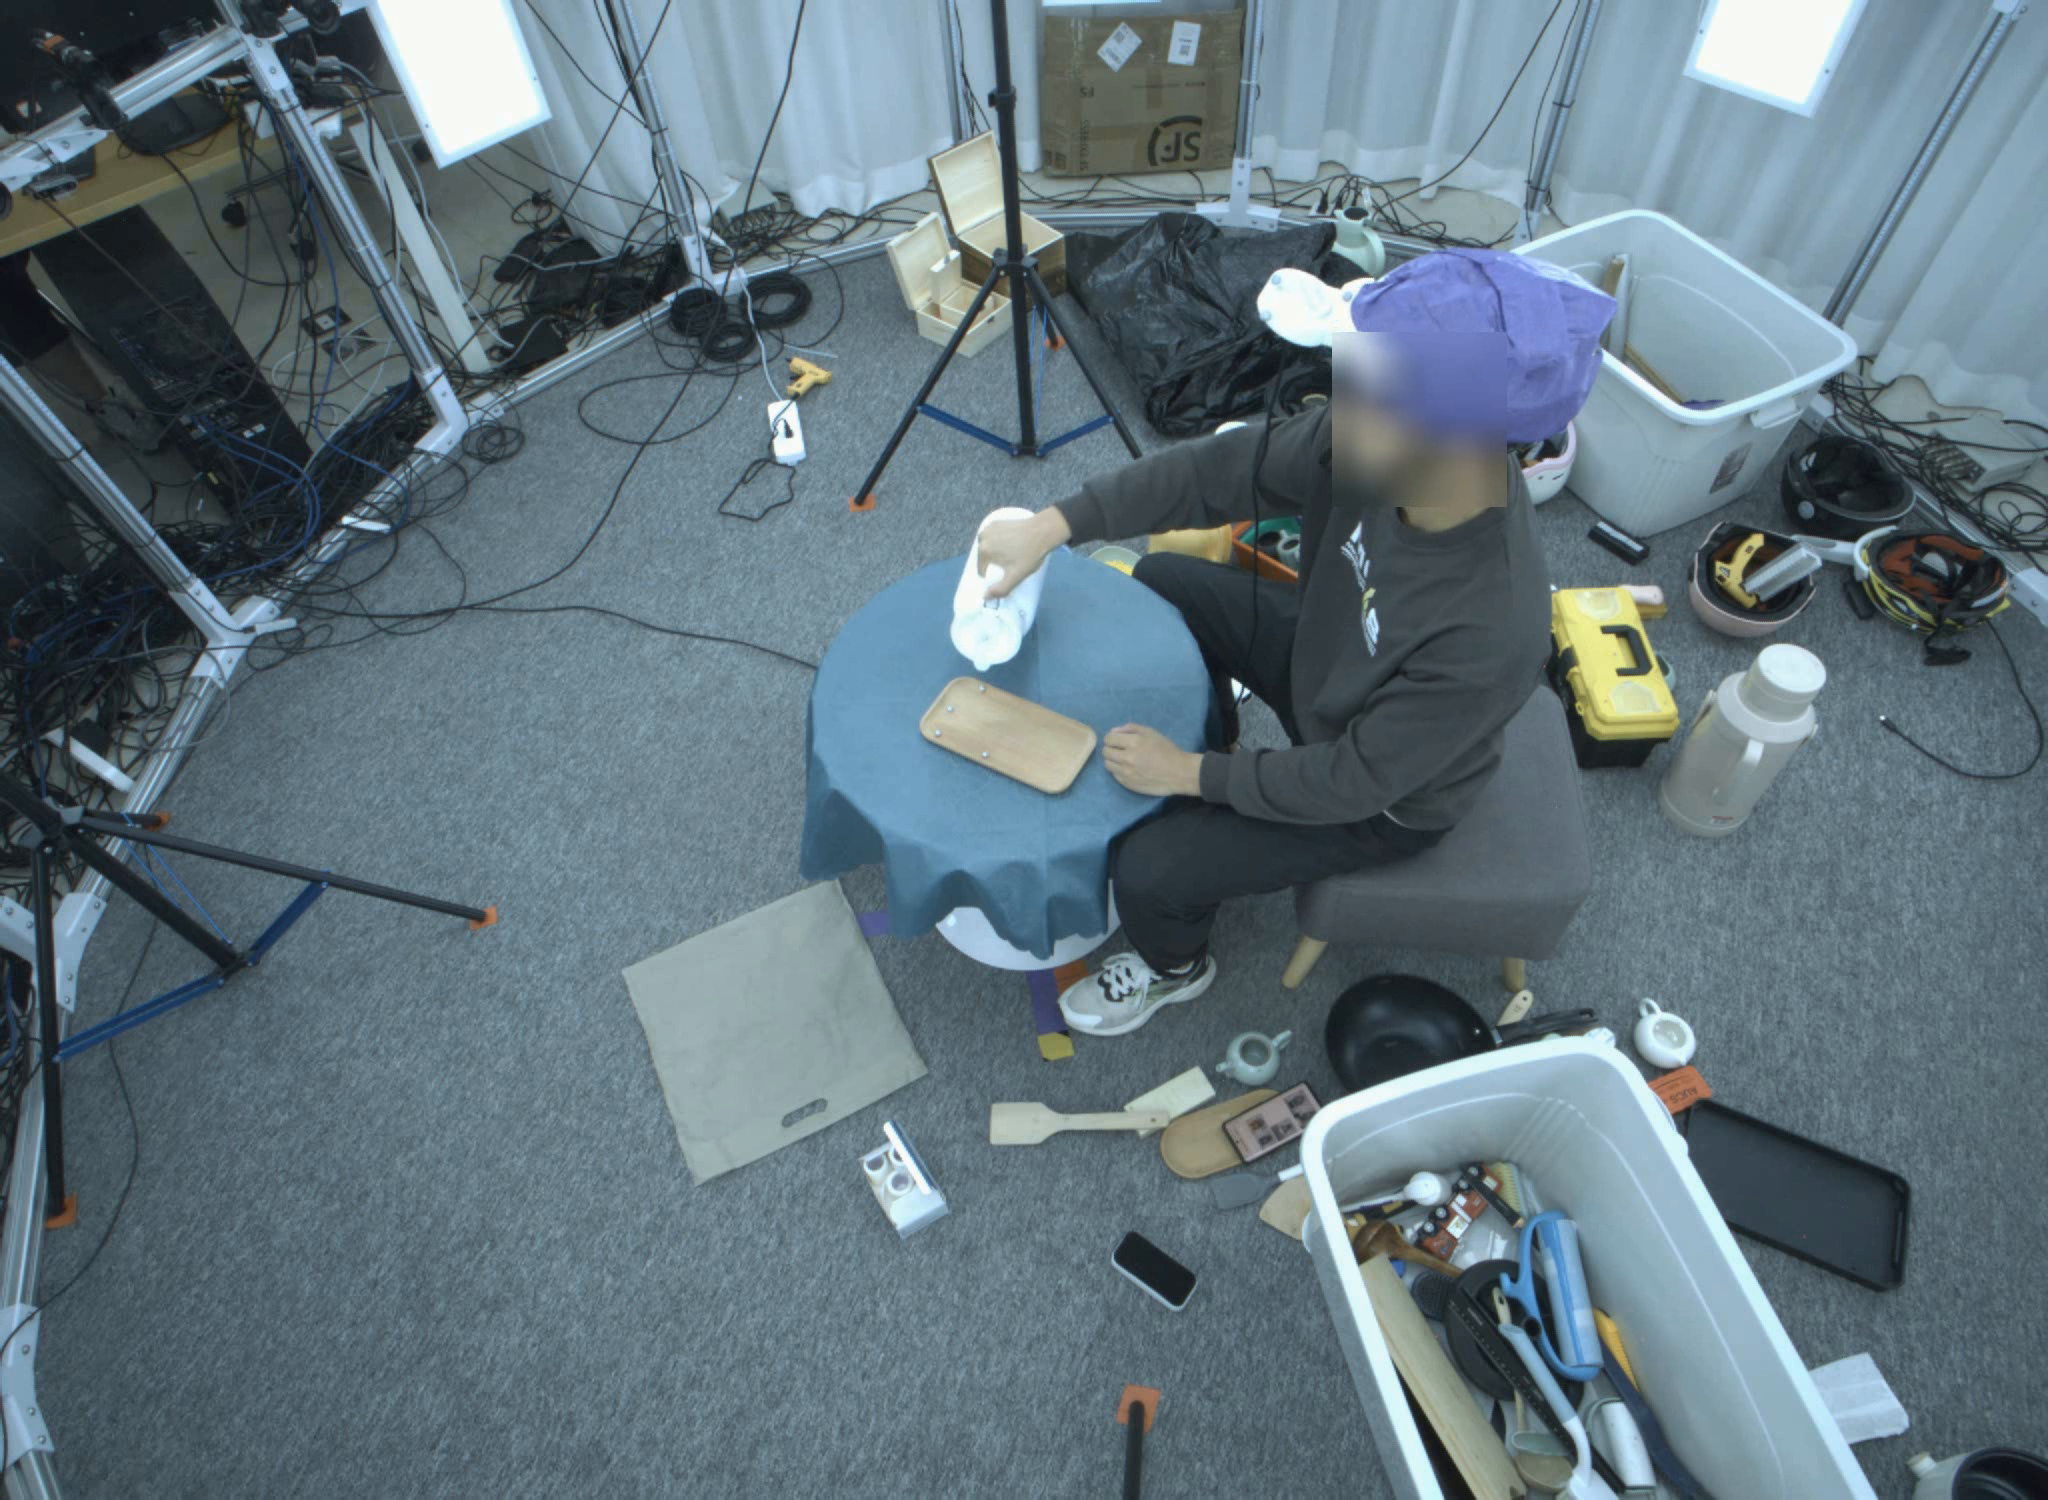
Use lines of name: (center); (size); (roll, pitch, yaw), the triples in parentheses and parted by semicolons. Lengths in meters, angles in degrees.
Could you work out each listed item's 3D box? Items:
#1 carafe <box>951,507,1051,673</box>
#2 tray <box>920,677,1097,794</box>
carafe: (-0.033, -0.255, 1.777); (0.124, 0.174, 0.267); (12, 41, 3)
tray: (-0.023, -0.023, 1.792); (0.247, 0.023, 0.131); (25, 61, 17)
